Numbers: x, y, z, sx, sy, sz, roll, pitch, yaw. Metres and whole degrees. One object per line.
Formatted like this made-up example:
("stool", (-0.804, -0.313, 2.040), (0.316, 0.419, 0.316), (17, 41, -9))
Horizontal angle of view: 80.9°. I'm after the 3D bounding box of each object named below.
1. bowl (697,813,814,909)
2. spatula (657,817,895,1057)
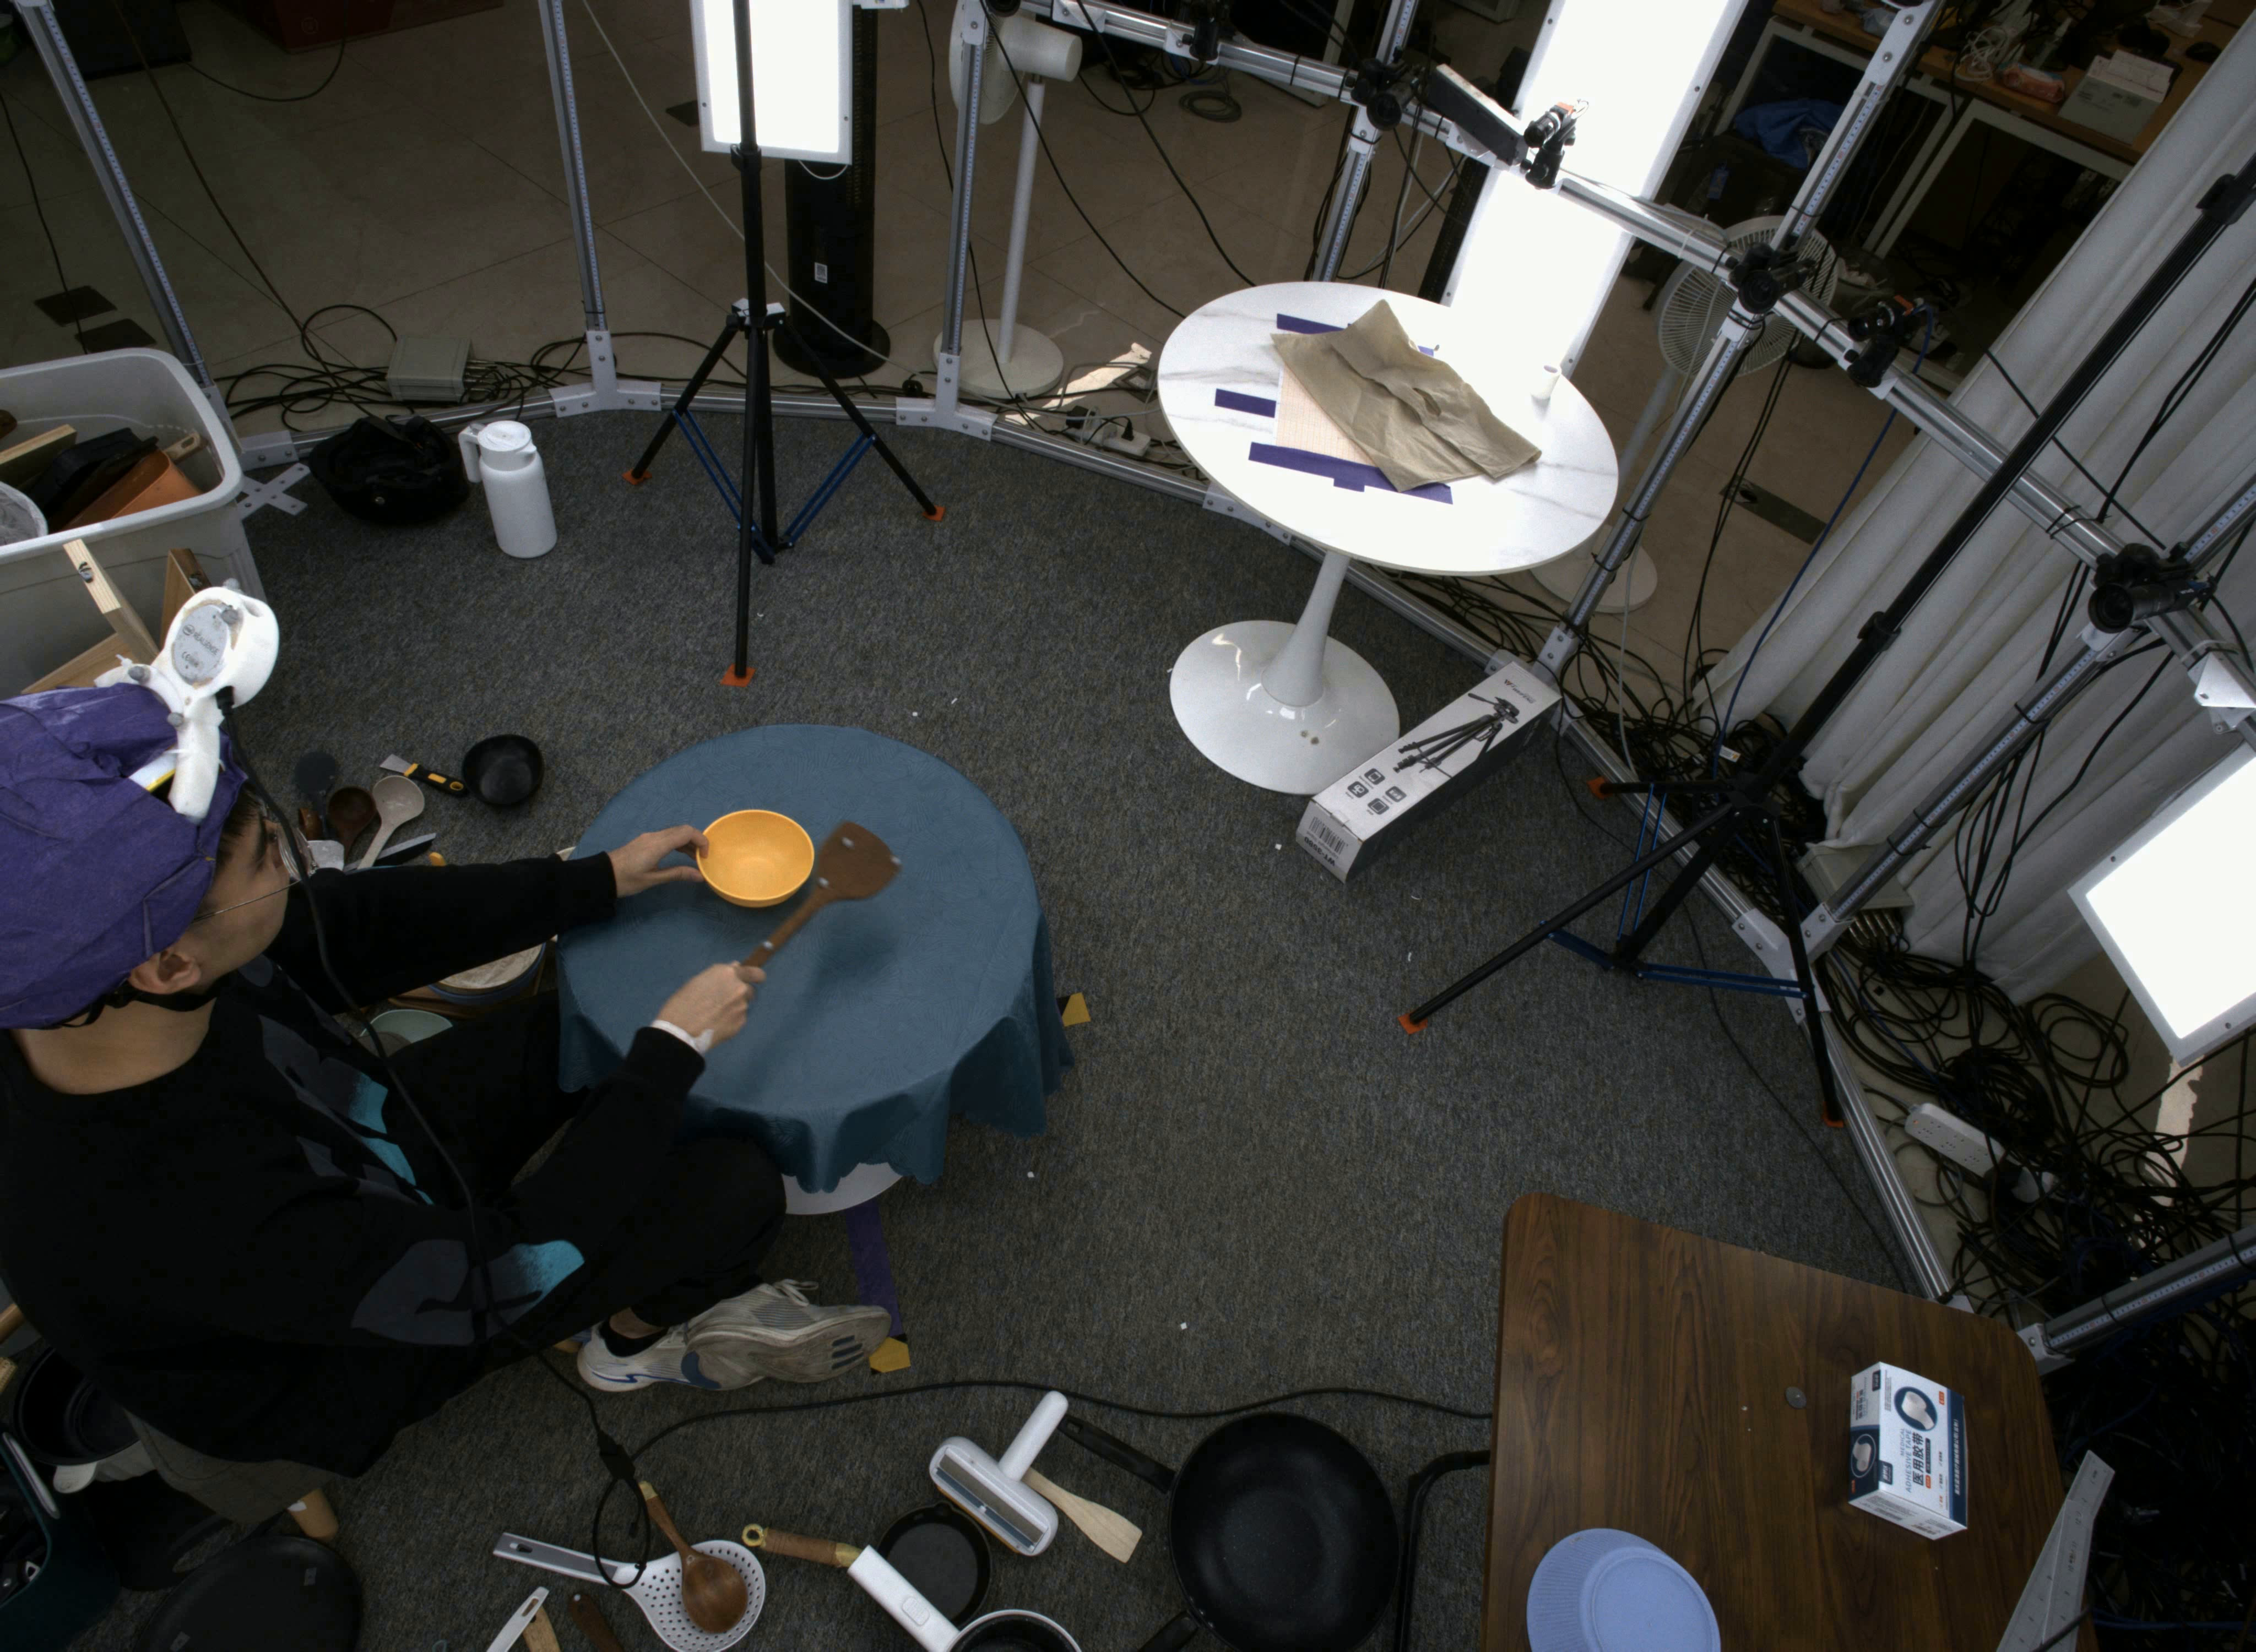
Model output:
("bowl", (-0.470, 0.054, 1.638), (0.145, 0.061, 0.142), (9, 48, -9))
("spatula", (-0.402, 0.122, 1.473), (0.096, 0.016, 0.384), (41, 47, -4))
